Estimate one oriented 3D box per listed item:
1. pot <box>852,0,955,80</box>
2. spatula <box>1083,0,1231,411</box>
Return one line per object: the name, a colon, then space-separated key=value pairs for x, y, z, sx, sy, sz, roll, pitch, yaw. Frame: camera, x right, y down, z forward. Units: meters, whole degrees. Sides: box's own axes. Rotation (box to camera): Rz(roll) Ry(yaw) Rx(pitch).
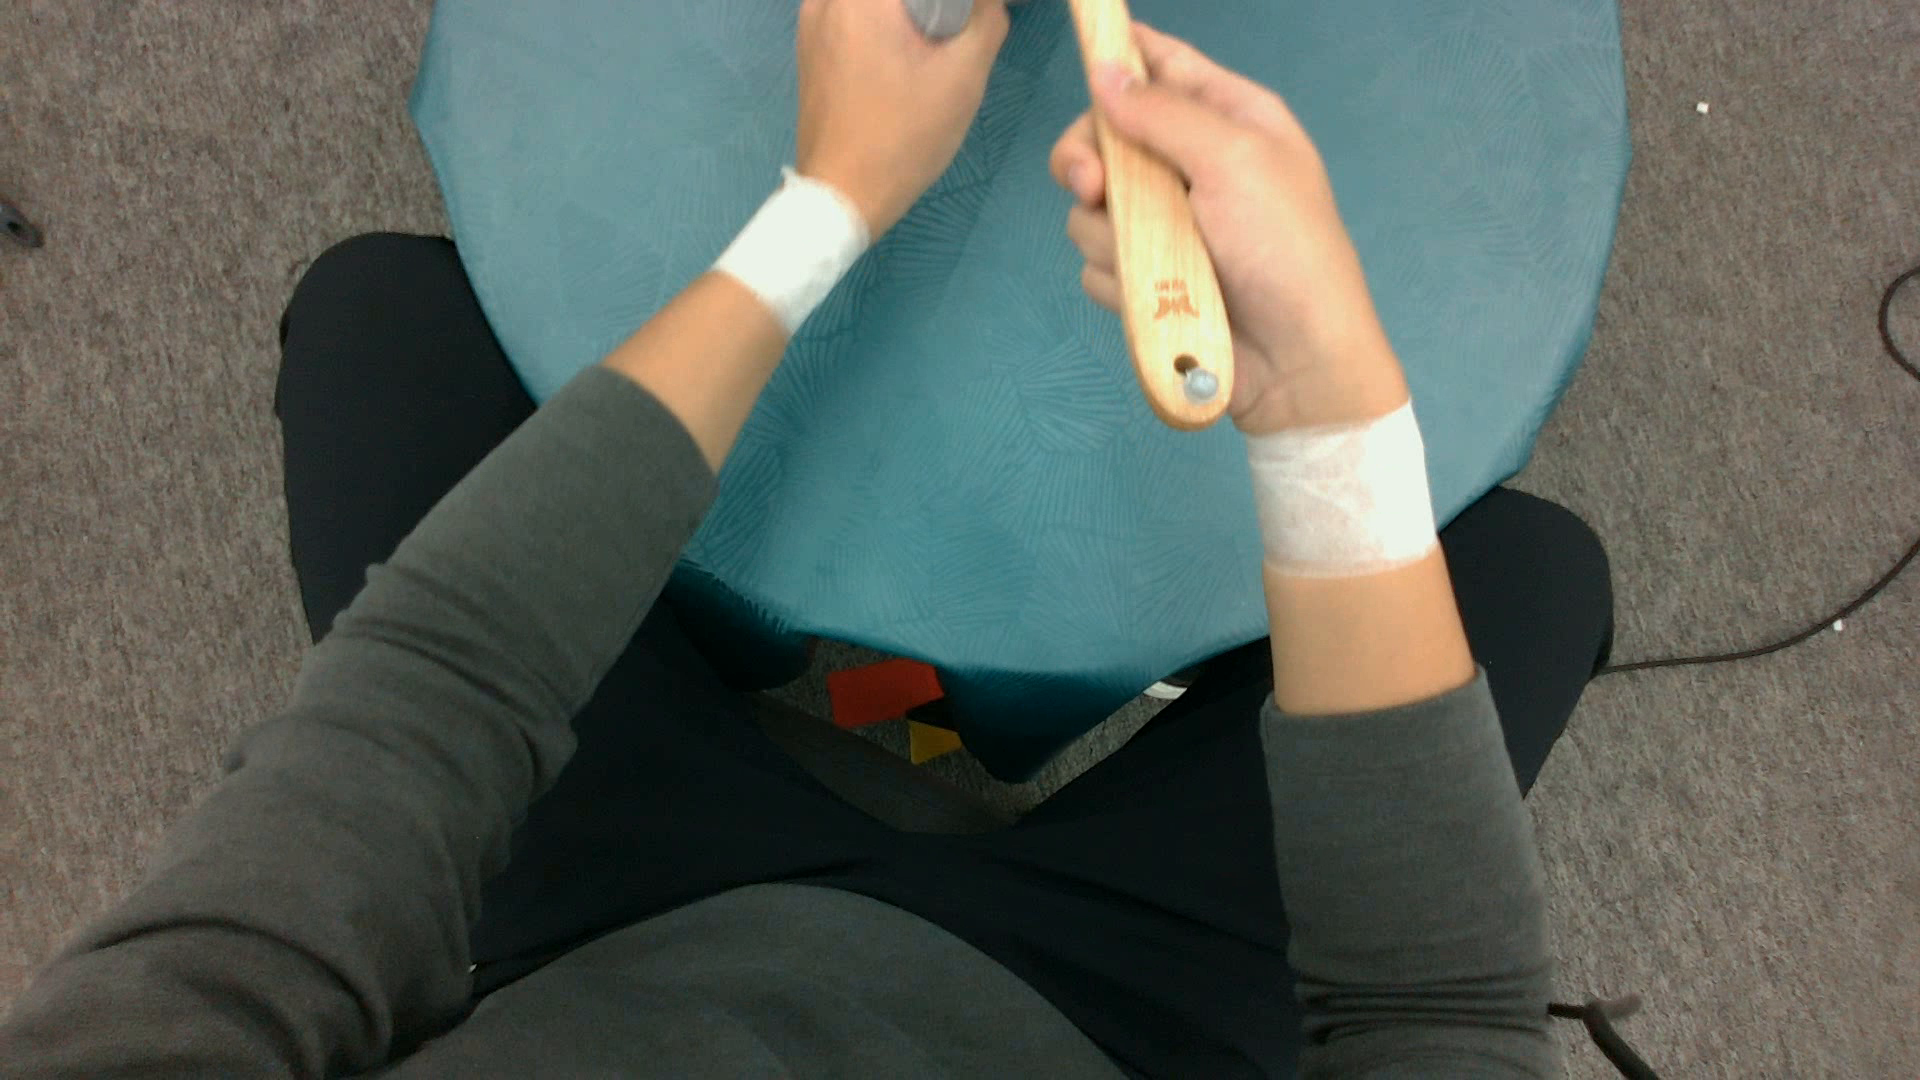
pot: x=0.012 y=-0.318 z=0.585 sx=0.179 sy=0.136 sz=0.234 roll=18 pitch=87 yaw=-12
spatula: x=0.053 y=-0.209 z=0.493 sx=0.096 sy=0.018 sz=0.392 roll=-4 pitch=60 yaw=-4
